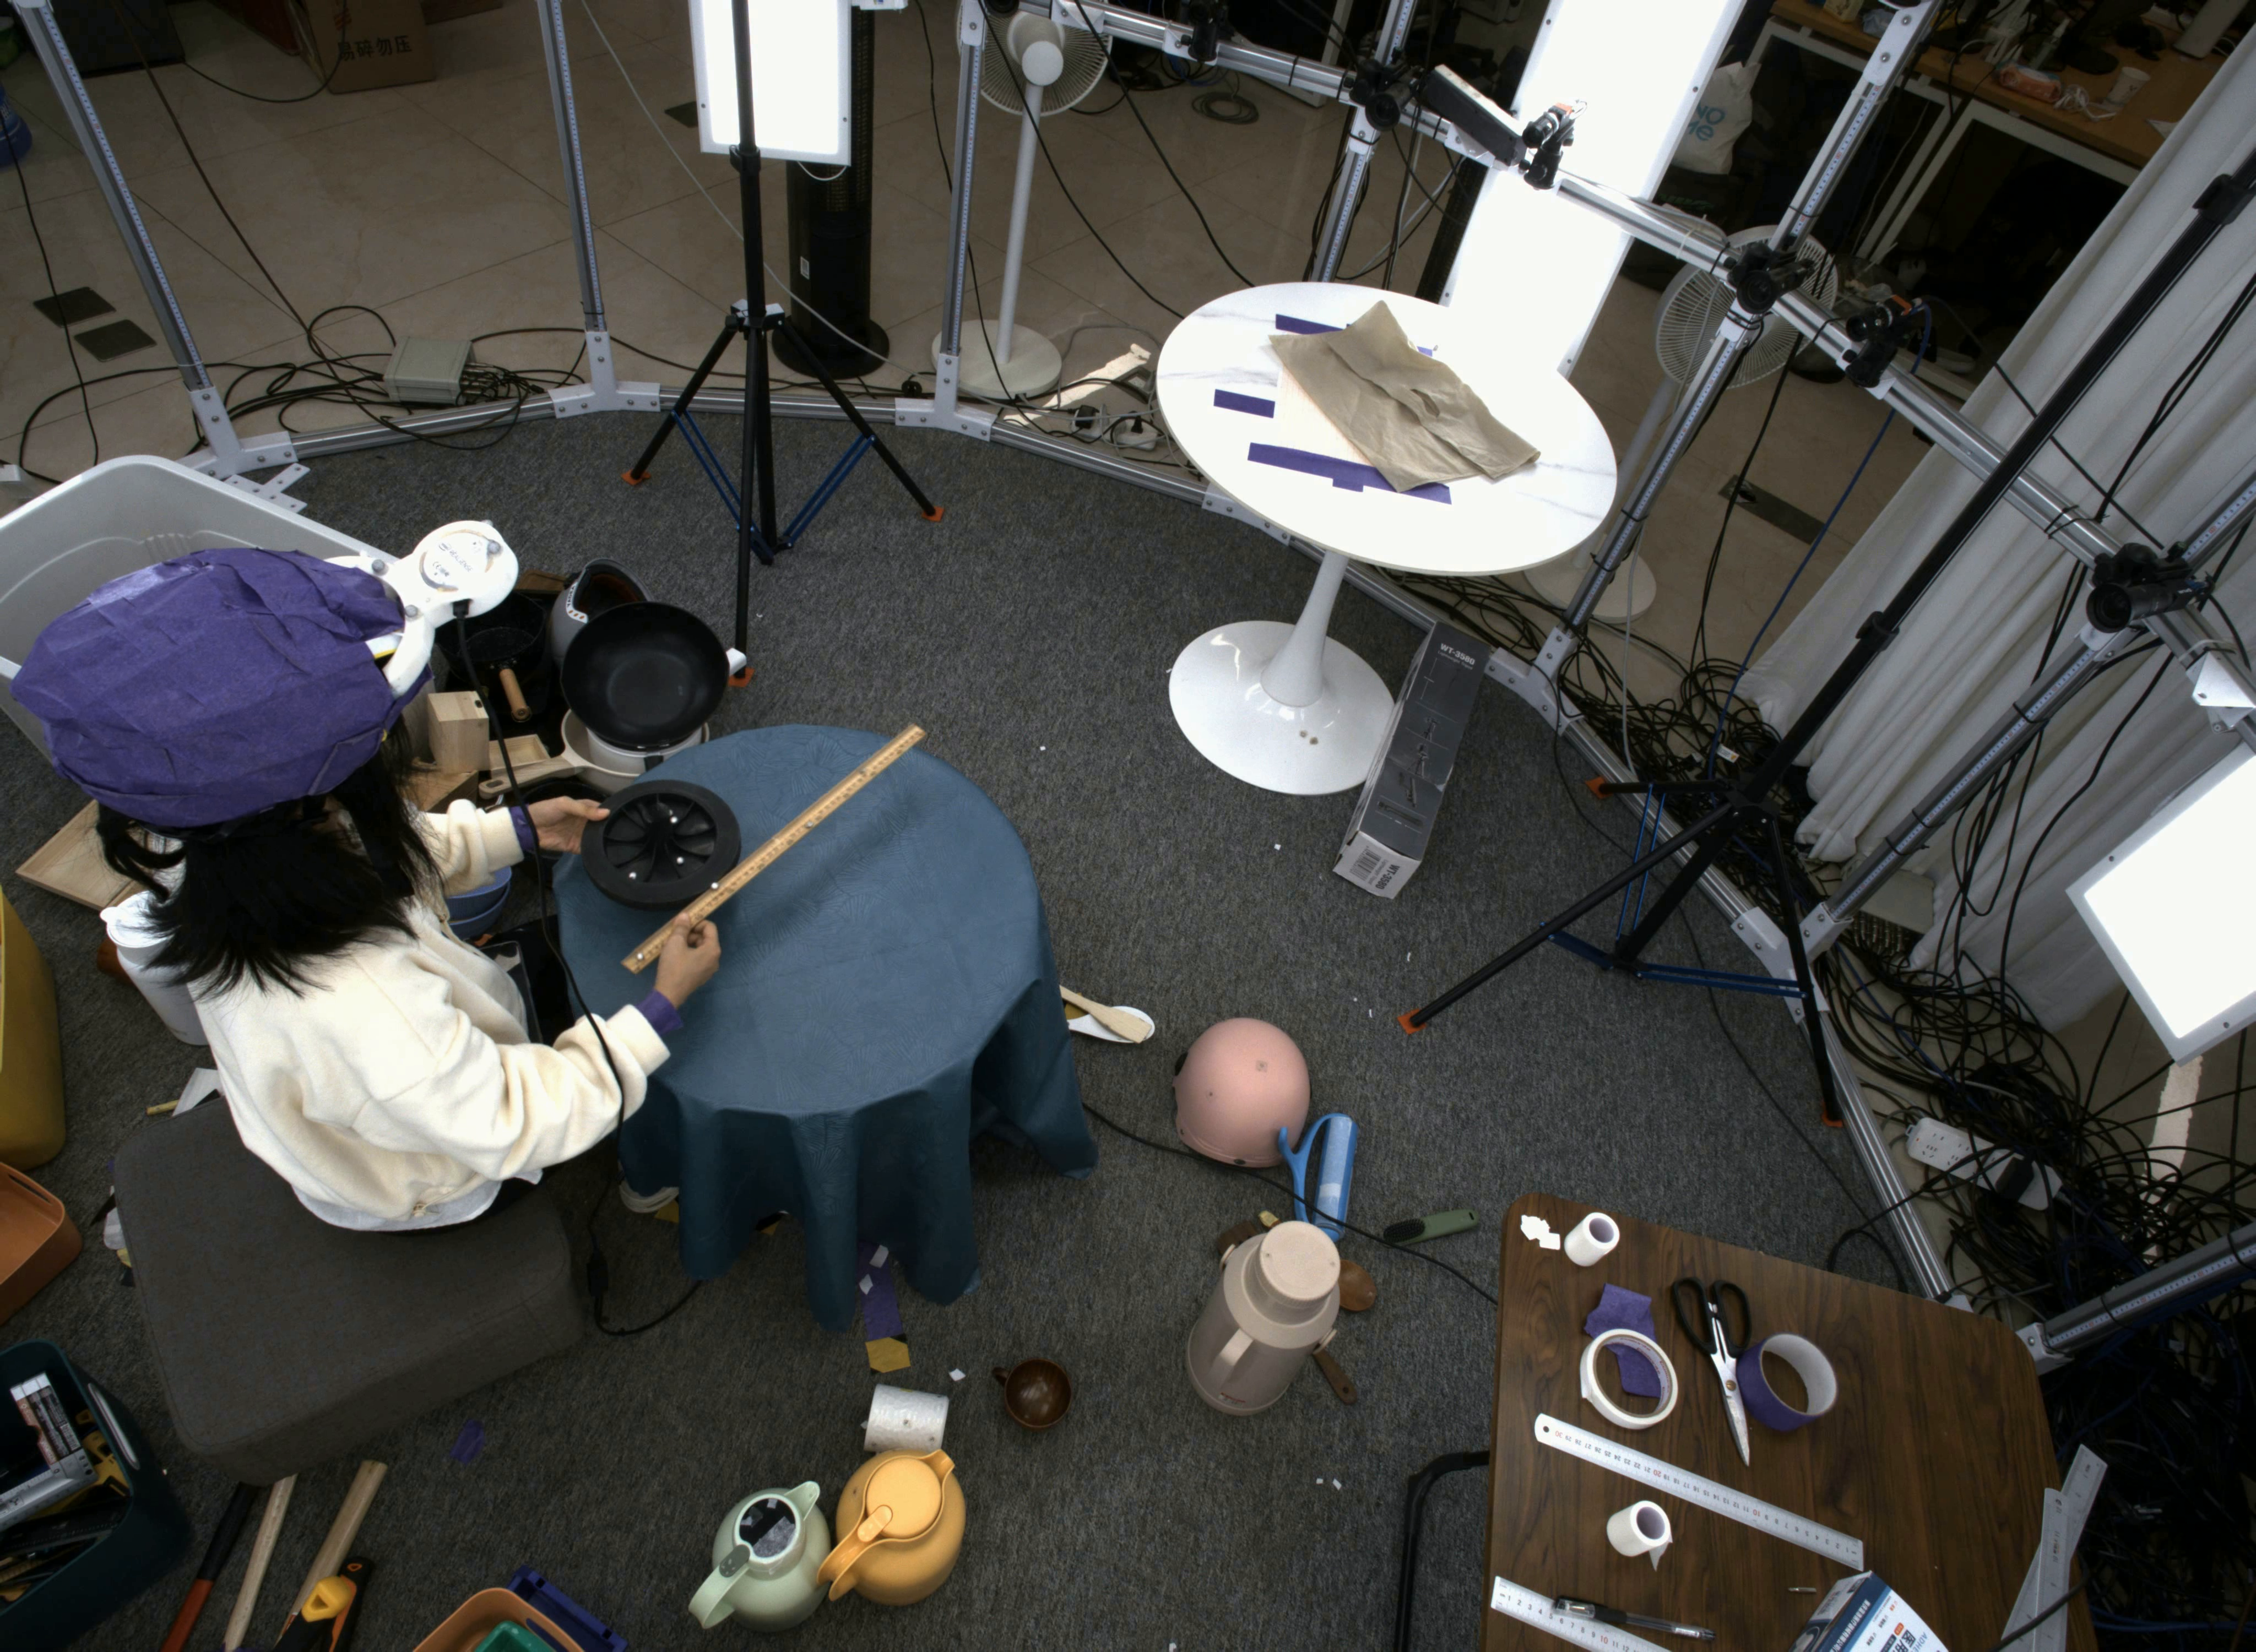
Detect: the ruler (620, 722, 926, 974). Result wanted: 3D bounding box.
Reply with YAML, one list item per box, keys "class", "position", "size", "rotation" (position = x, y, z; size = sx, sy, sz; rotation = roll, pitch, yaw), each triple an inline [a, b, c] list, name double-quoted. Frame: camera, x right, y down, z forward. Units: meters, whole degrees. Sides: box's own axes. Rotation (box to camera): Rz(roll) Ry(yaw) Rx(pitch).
- class: "ruler"
  position: [-0.423, 0.013, 1.590]
  size: [0.026, 0.006, 0.500]
  rotation: [38, 55, 10]

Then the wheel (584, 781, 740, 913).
- class: "wheel"
  position: [-0.565, 0.007, 1.542]
  size: [0.186, 0.081, 0.187]
  rotation: [31, 53, 10]
